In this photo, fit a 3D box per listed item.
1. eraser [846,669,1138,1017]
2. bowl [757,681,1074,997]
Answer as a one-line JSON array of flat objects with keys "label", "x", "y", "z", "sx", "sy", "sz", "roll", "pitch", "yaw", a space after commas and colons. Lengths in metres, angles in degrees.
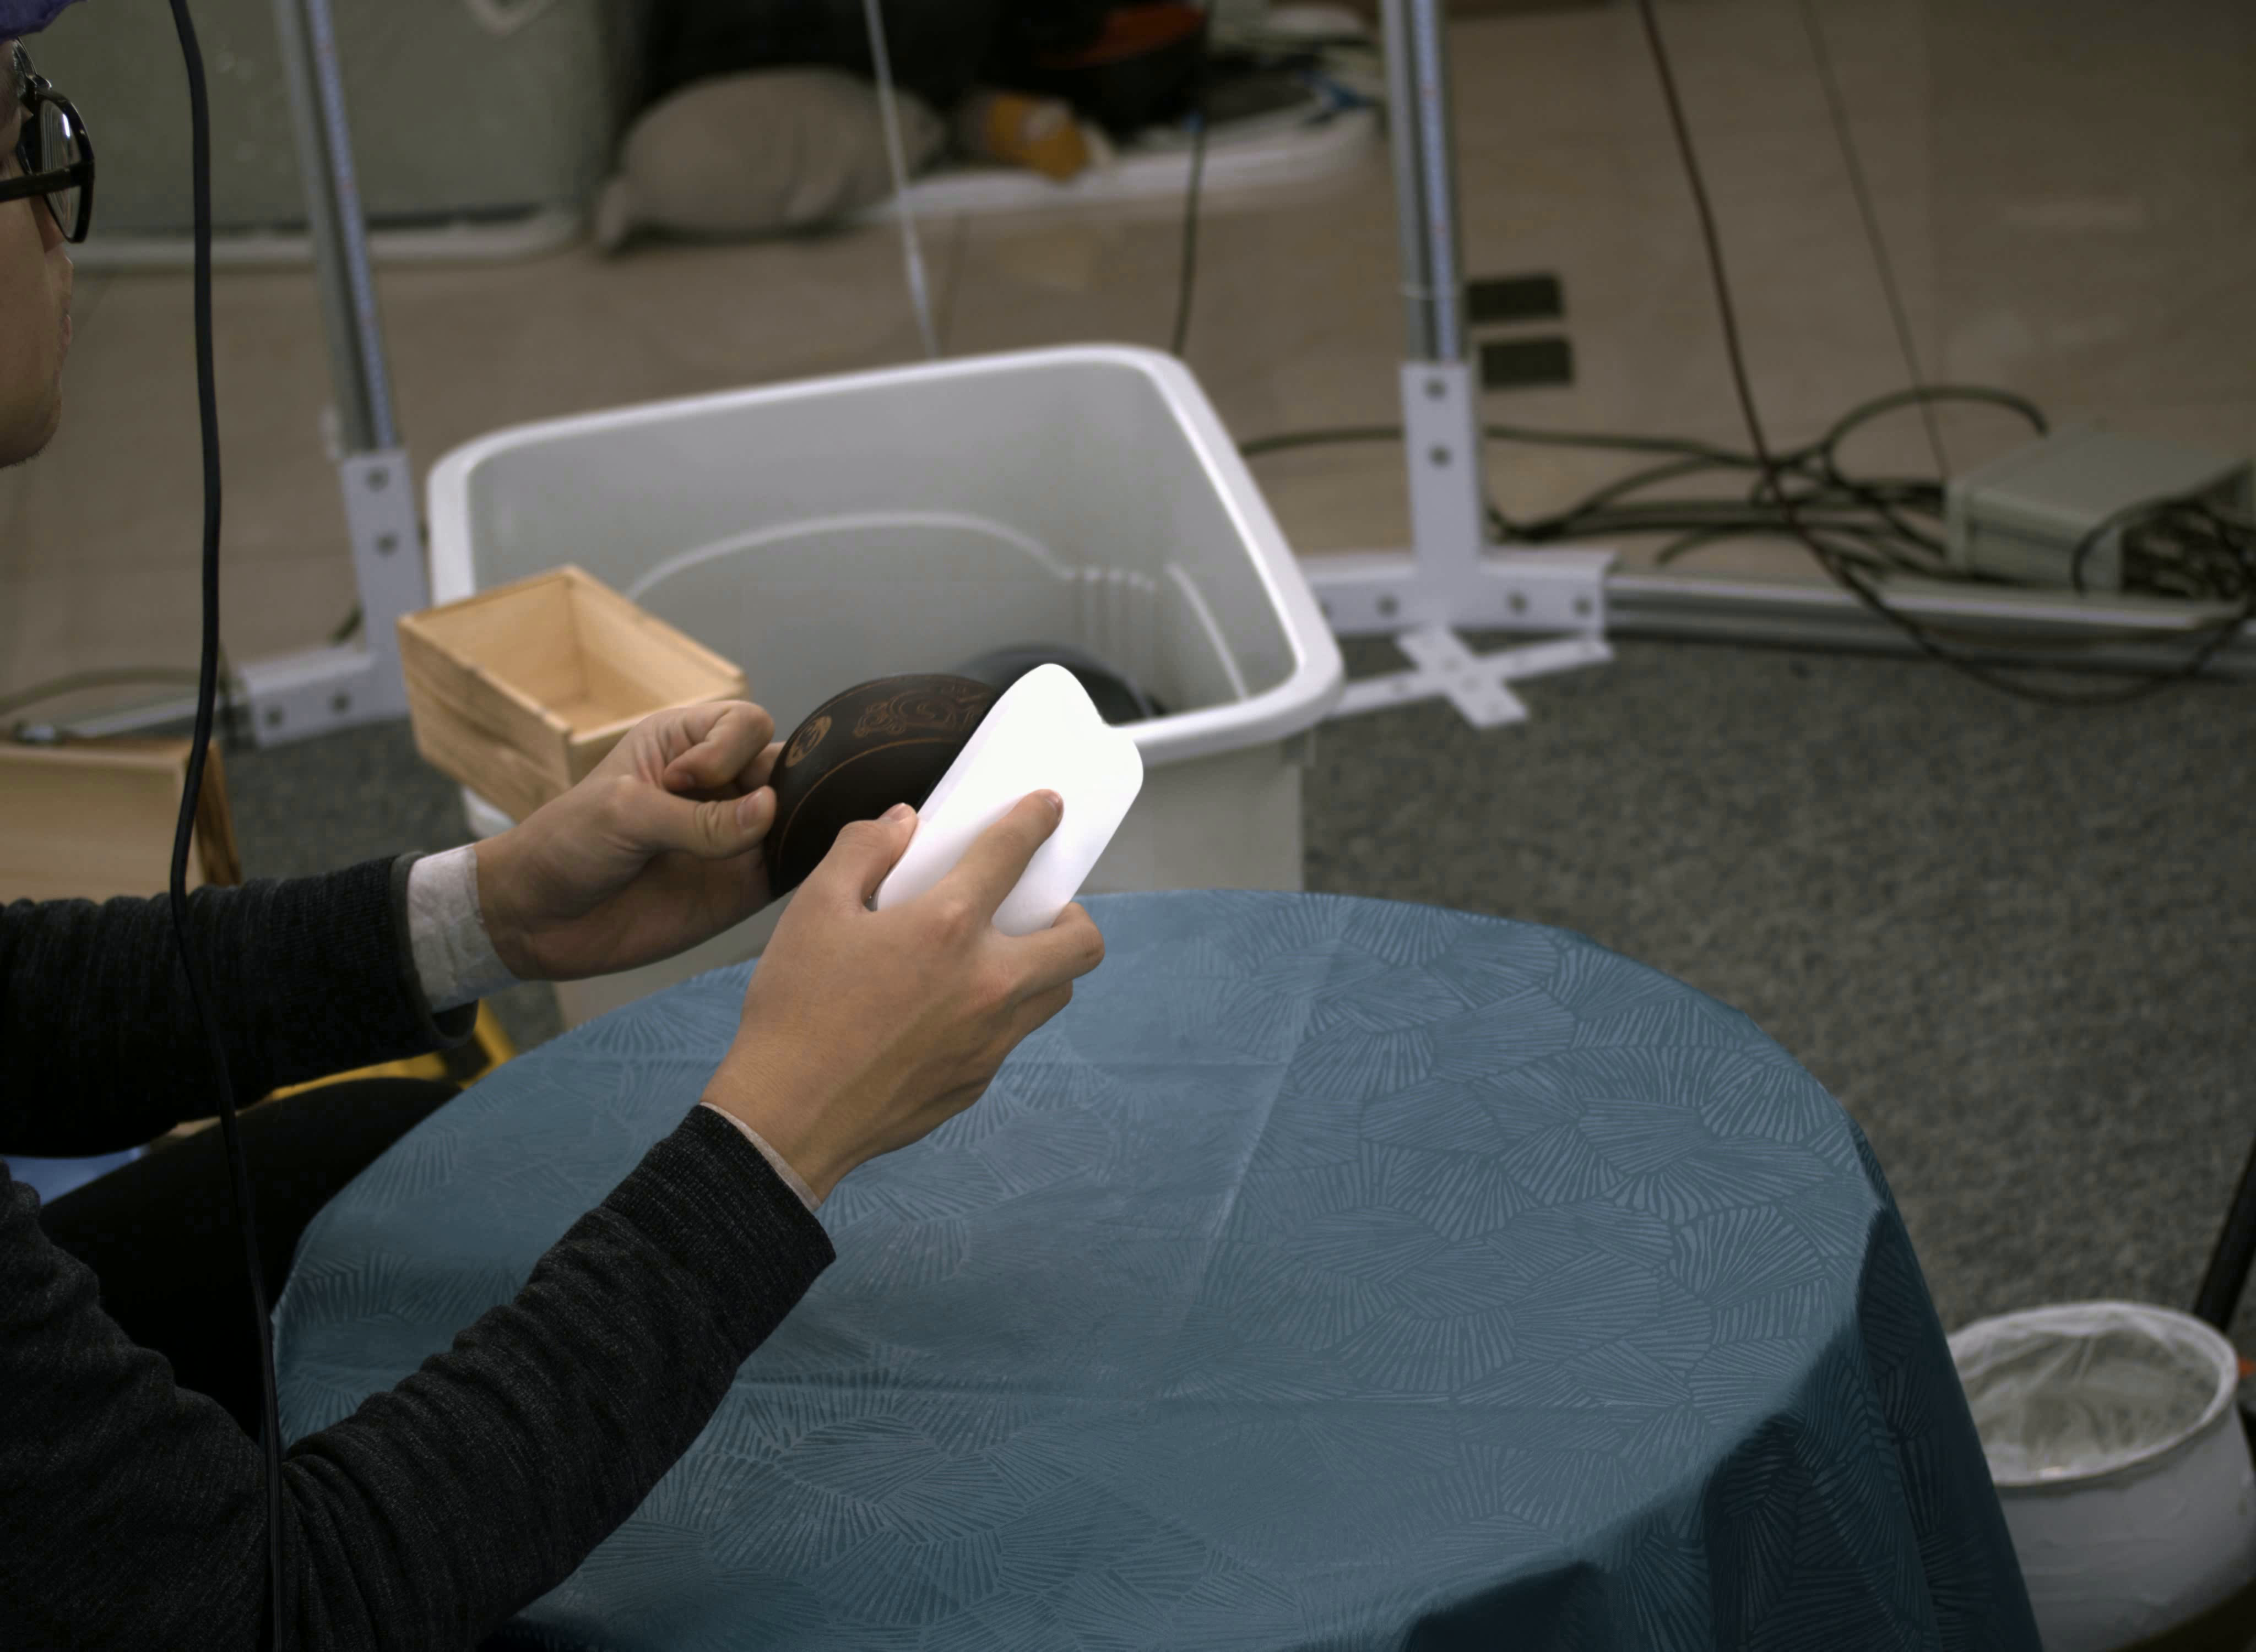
[{"label": "eraser", "x": -0.048, "y": 0.005, "z": 1.996, "sx": 0.034, "sy": 0.064, "sz": 0.129, "roll": -15, "pitch": 34, "yaw": 51}, {"label": "bowl", "x": -0.074, "y": 0.013, "z": 2.061, "sx": 0.118, "sy": 0.120, "sz": 0.068, "roll": -8, "pitch": 38, "yaw": -4}]
